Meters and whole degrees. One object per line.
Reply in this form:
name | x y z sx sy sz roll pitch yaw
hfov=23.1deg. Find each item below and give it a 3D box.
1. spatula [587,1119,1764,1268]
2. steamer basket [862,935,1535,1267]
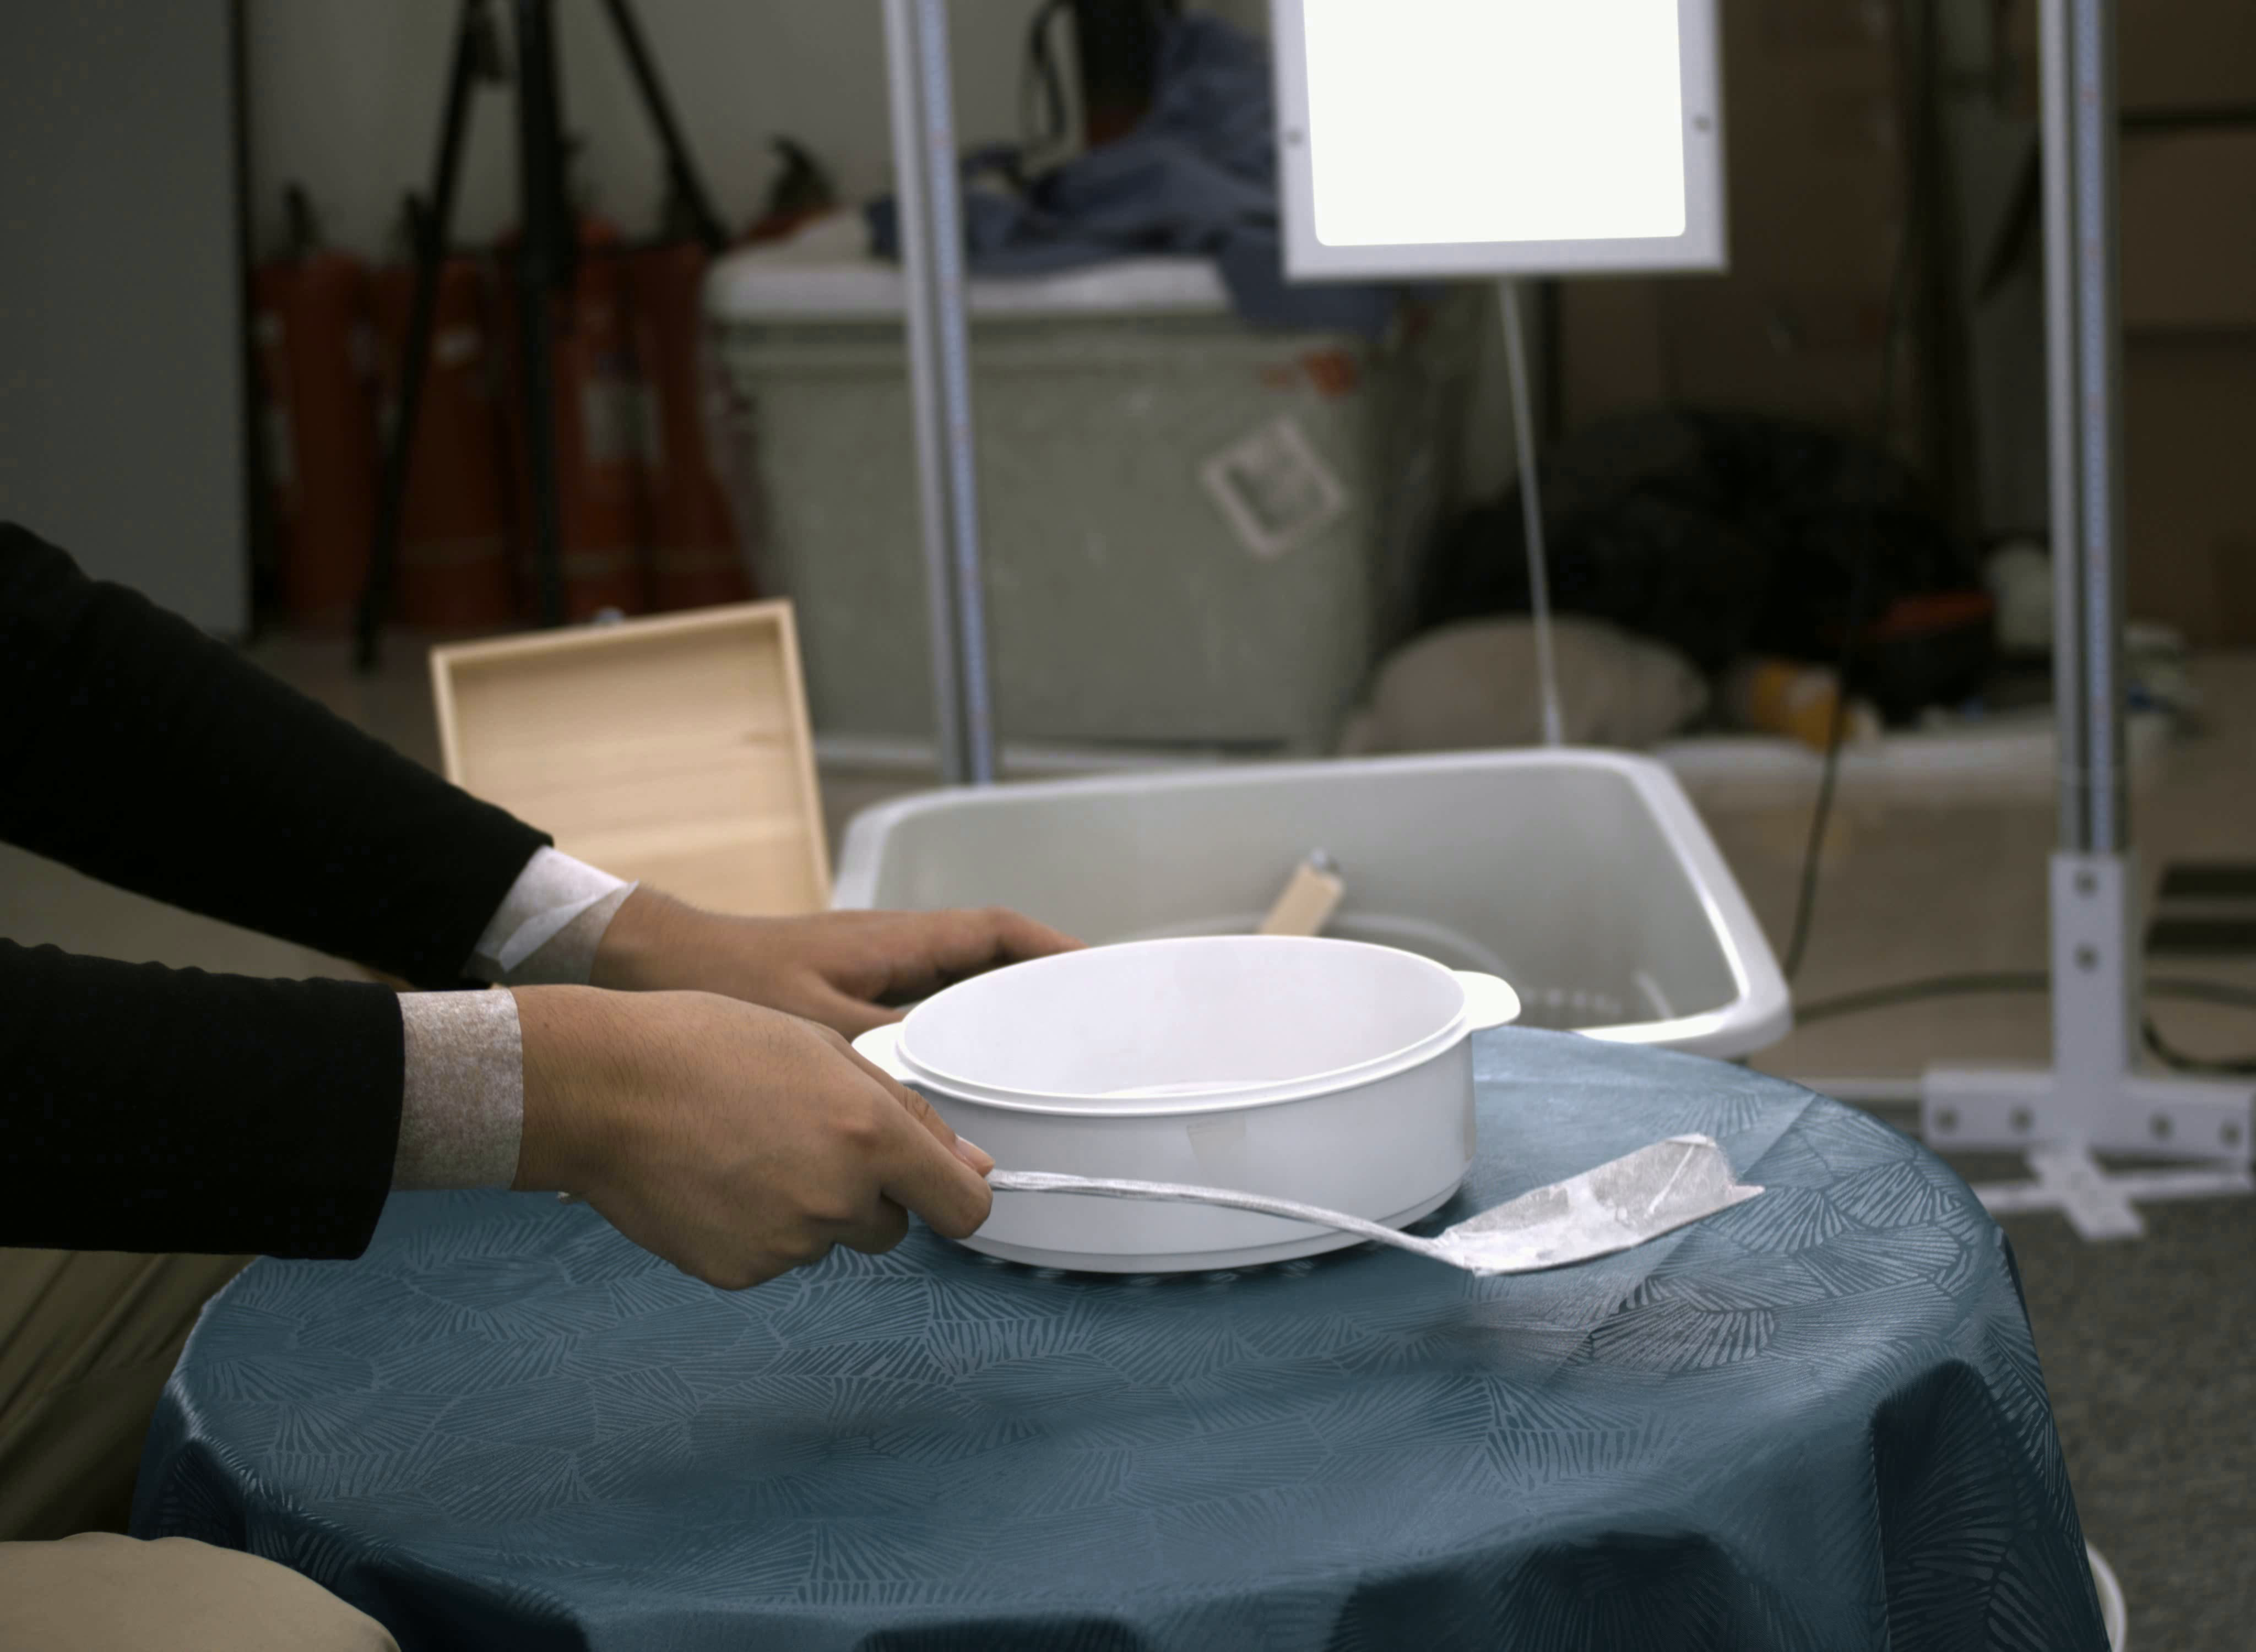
spatula | 0.015 0.108 1.706 0.363 0.045 0.099 5 10 -3
steamer basket | 0.026 0.094 1.875 0.230 0.069 0.202 -6 13 -1
